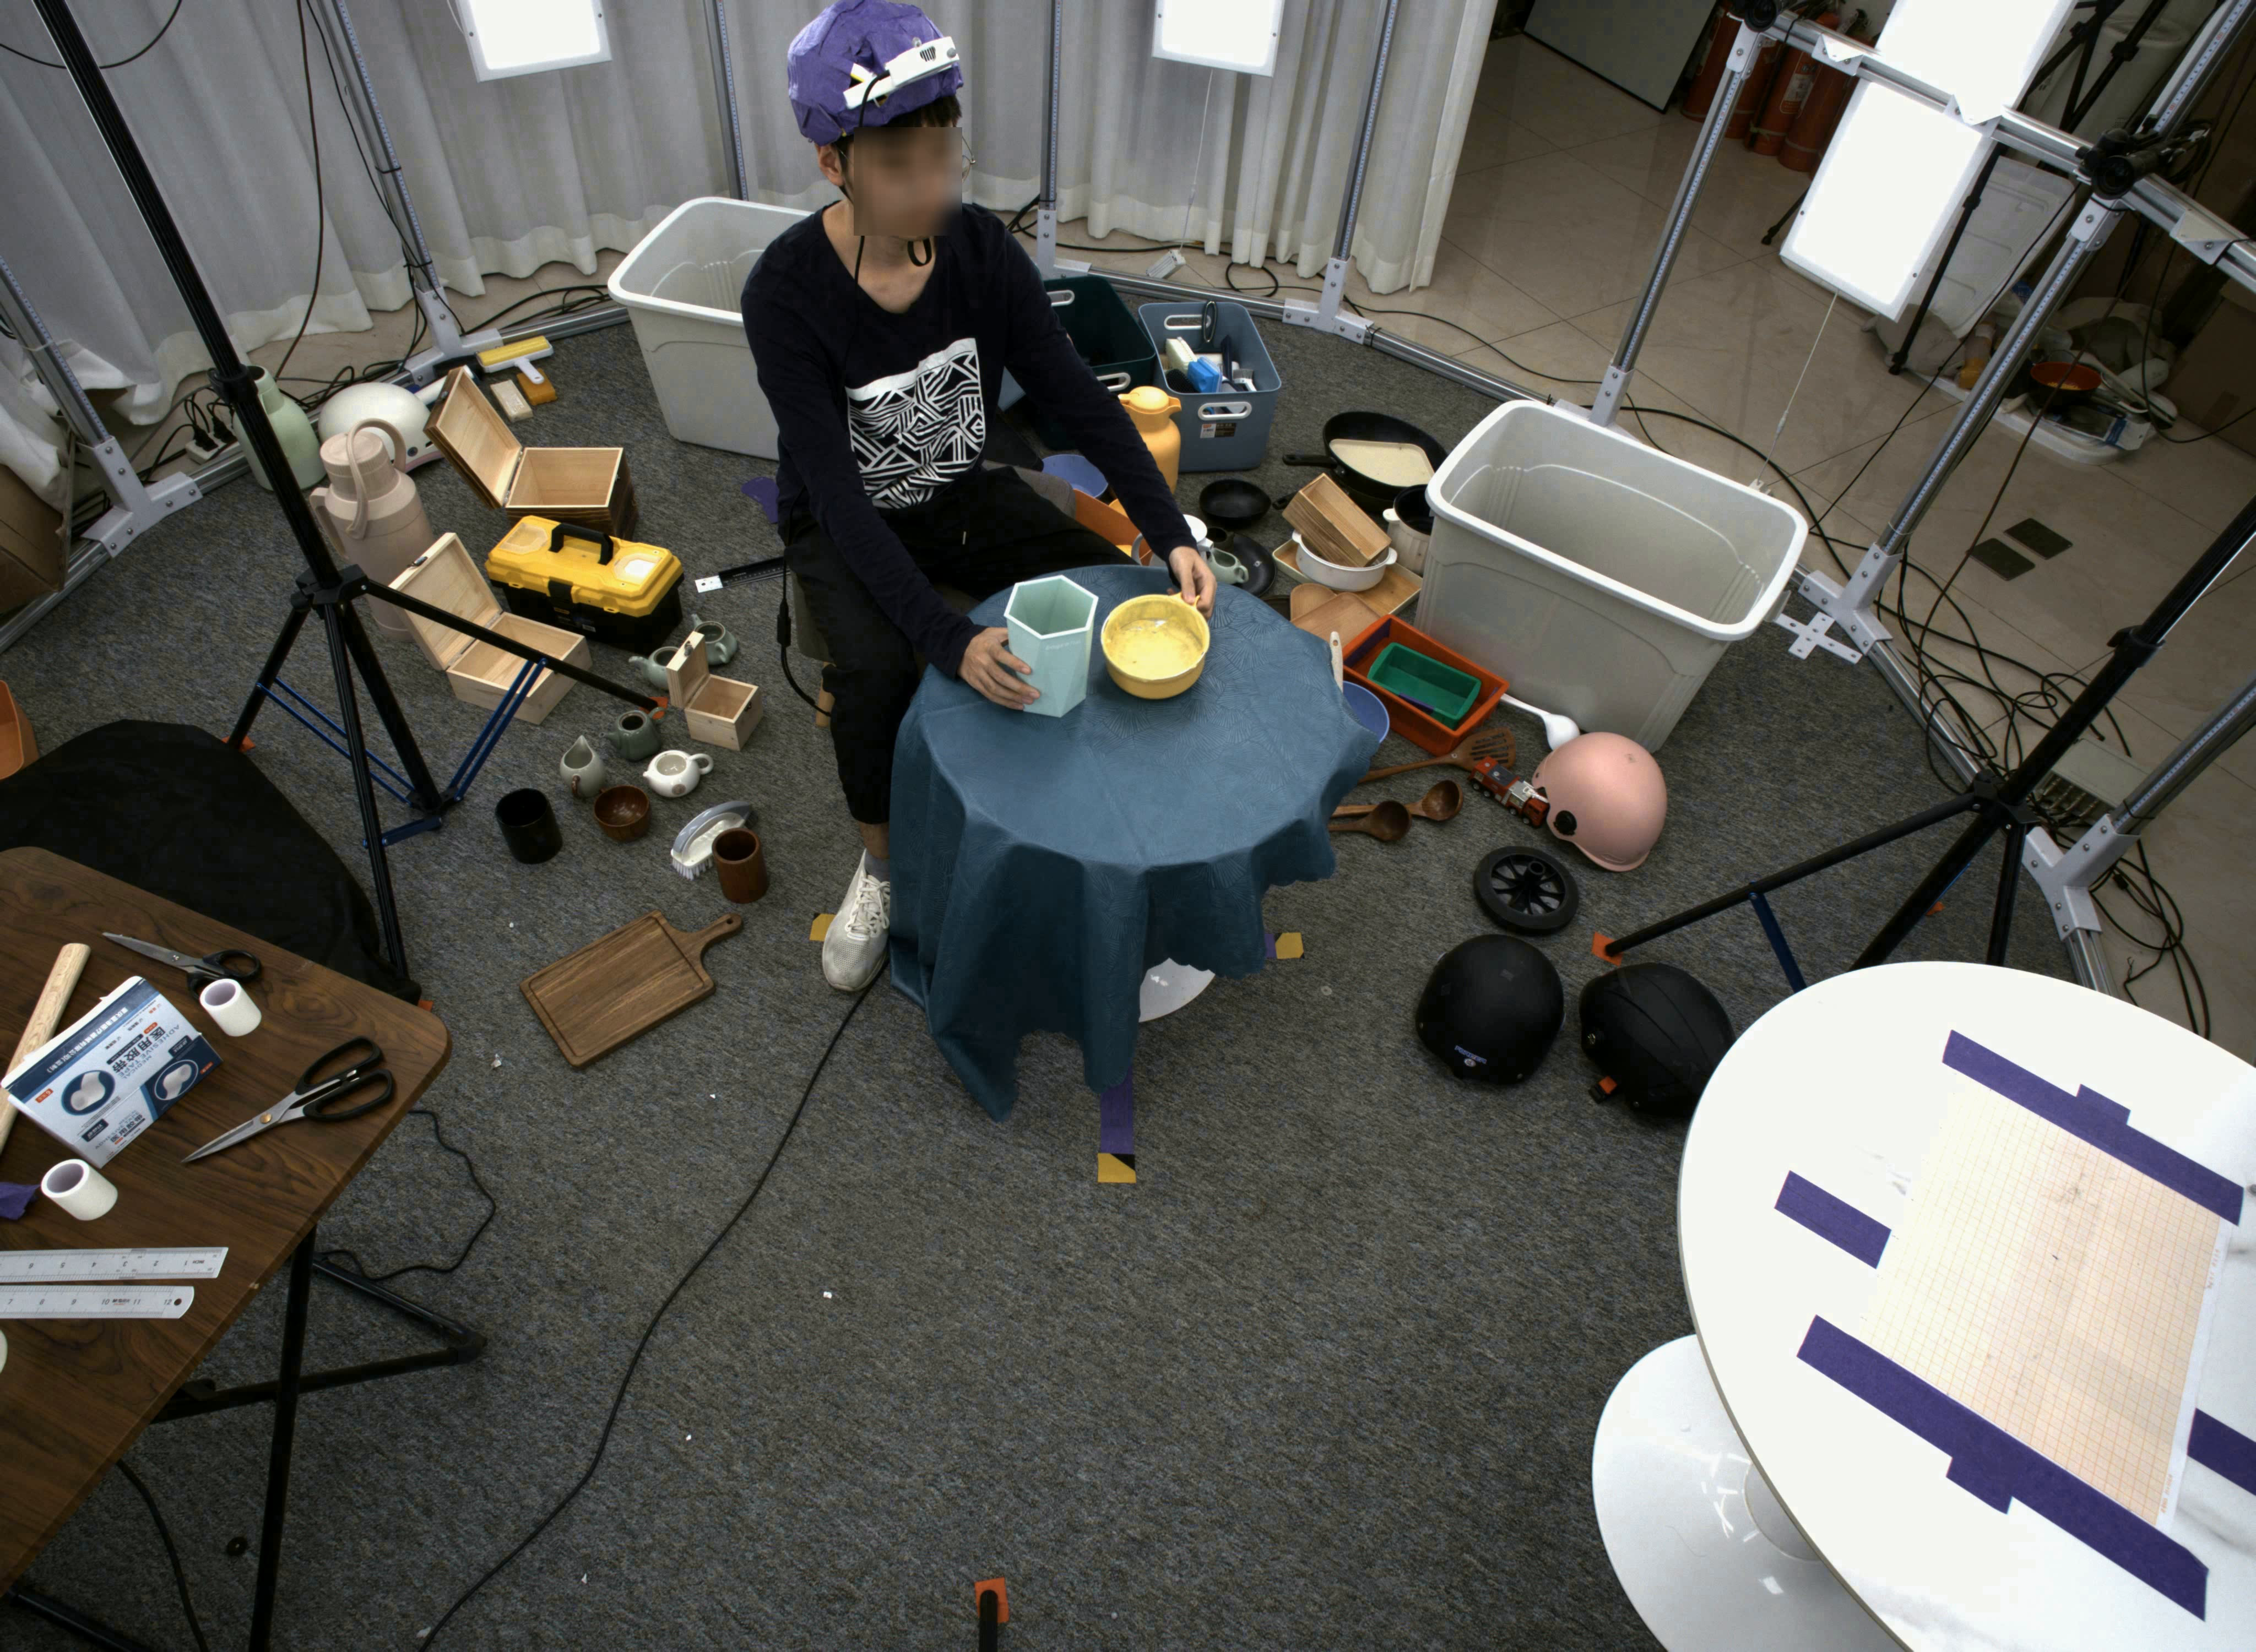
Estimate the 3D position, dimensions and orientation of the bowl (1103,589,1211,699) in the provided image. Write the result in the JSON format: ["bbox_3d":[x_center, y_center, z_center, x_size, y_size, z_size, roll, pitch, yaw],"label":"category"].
[{"bbox_3d":[0.049,-0.261,1.837,0.154,0.072,0.182,23,61,19],"label":"bowl"}]

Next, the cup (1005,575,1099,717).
[{"bbox_3d":[-0.105,-0.242,1.765,0.131,0.159,0.118,-14,50,-16],"label":"cup"}]
